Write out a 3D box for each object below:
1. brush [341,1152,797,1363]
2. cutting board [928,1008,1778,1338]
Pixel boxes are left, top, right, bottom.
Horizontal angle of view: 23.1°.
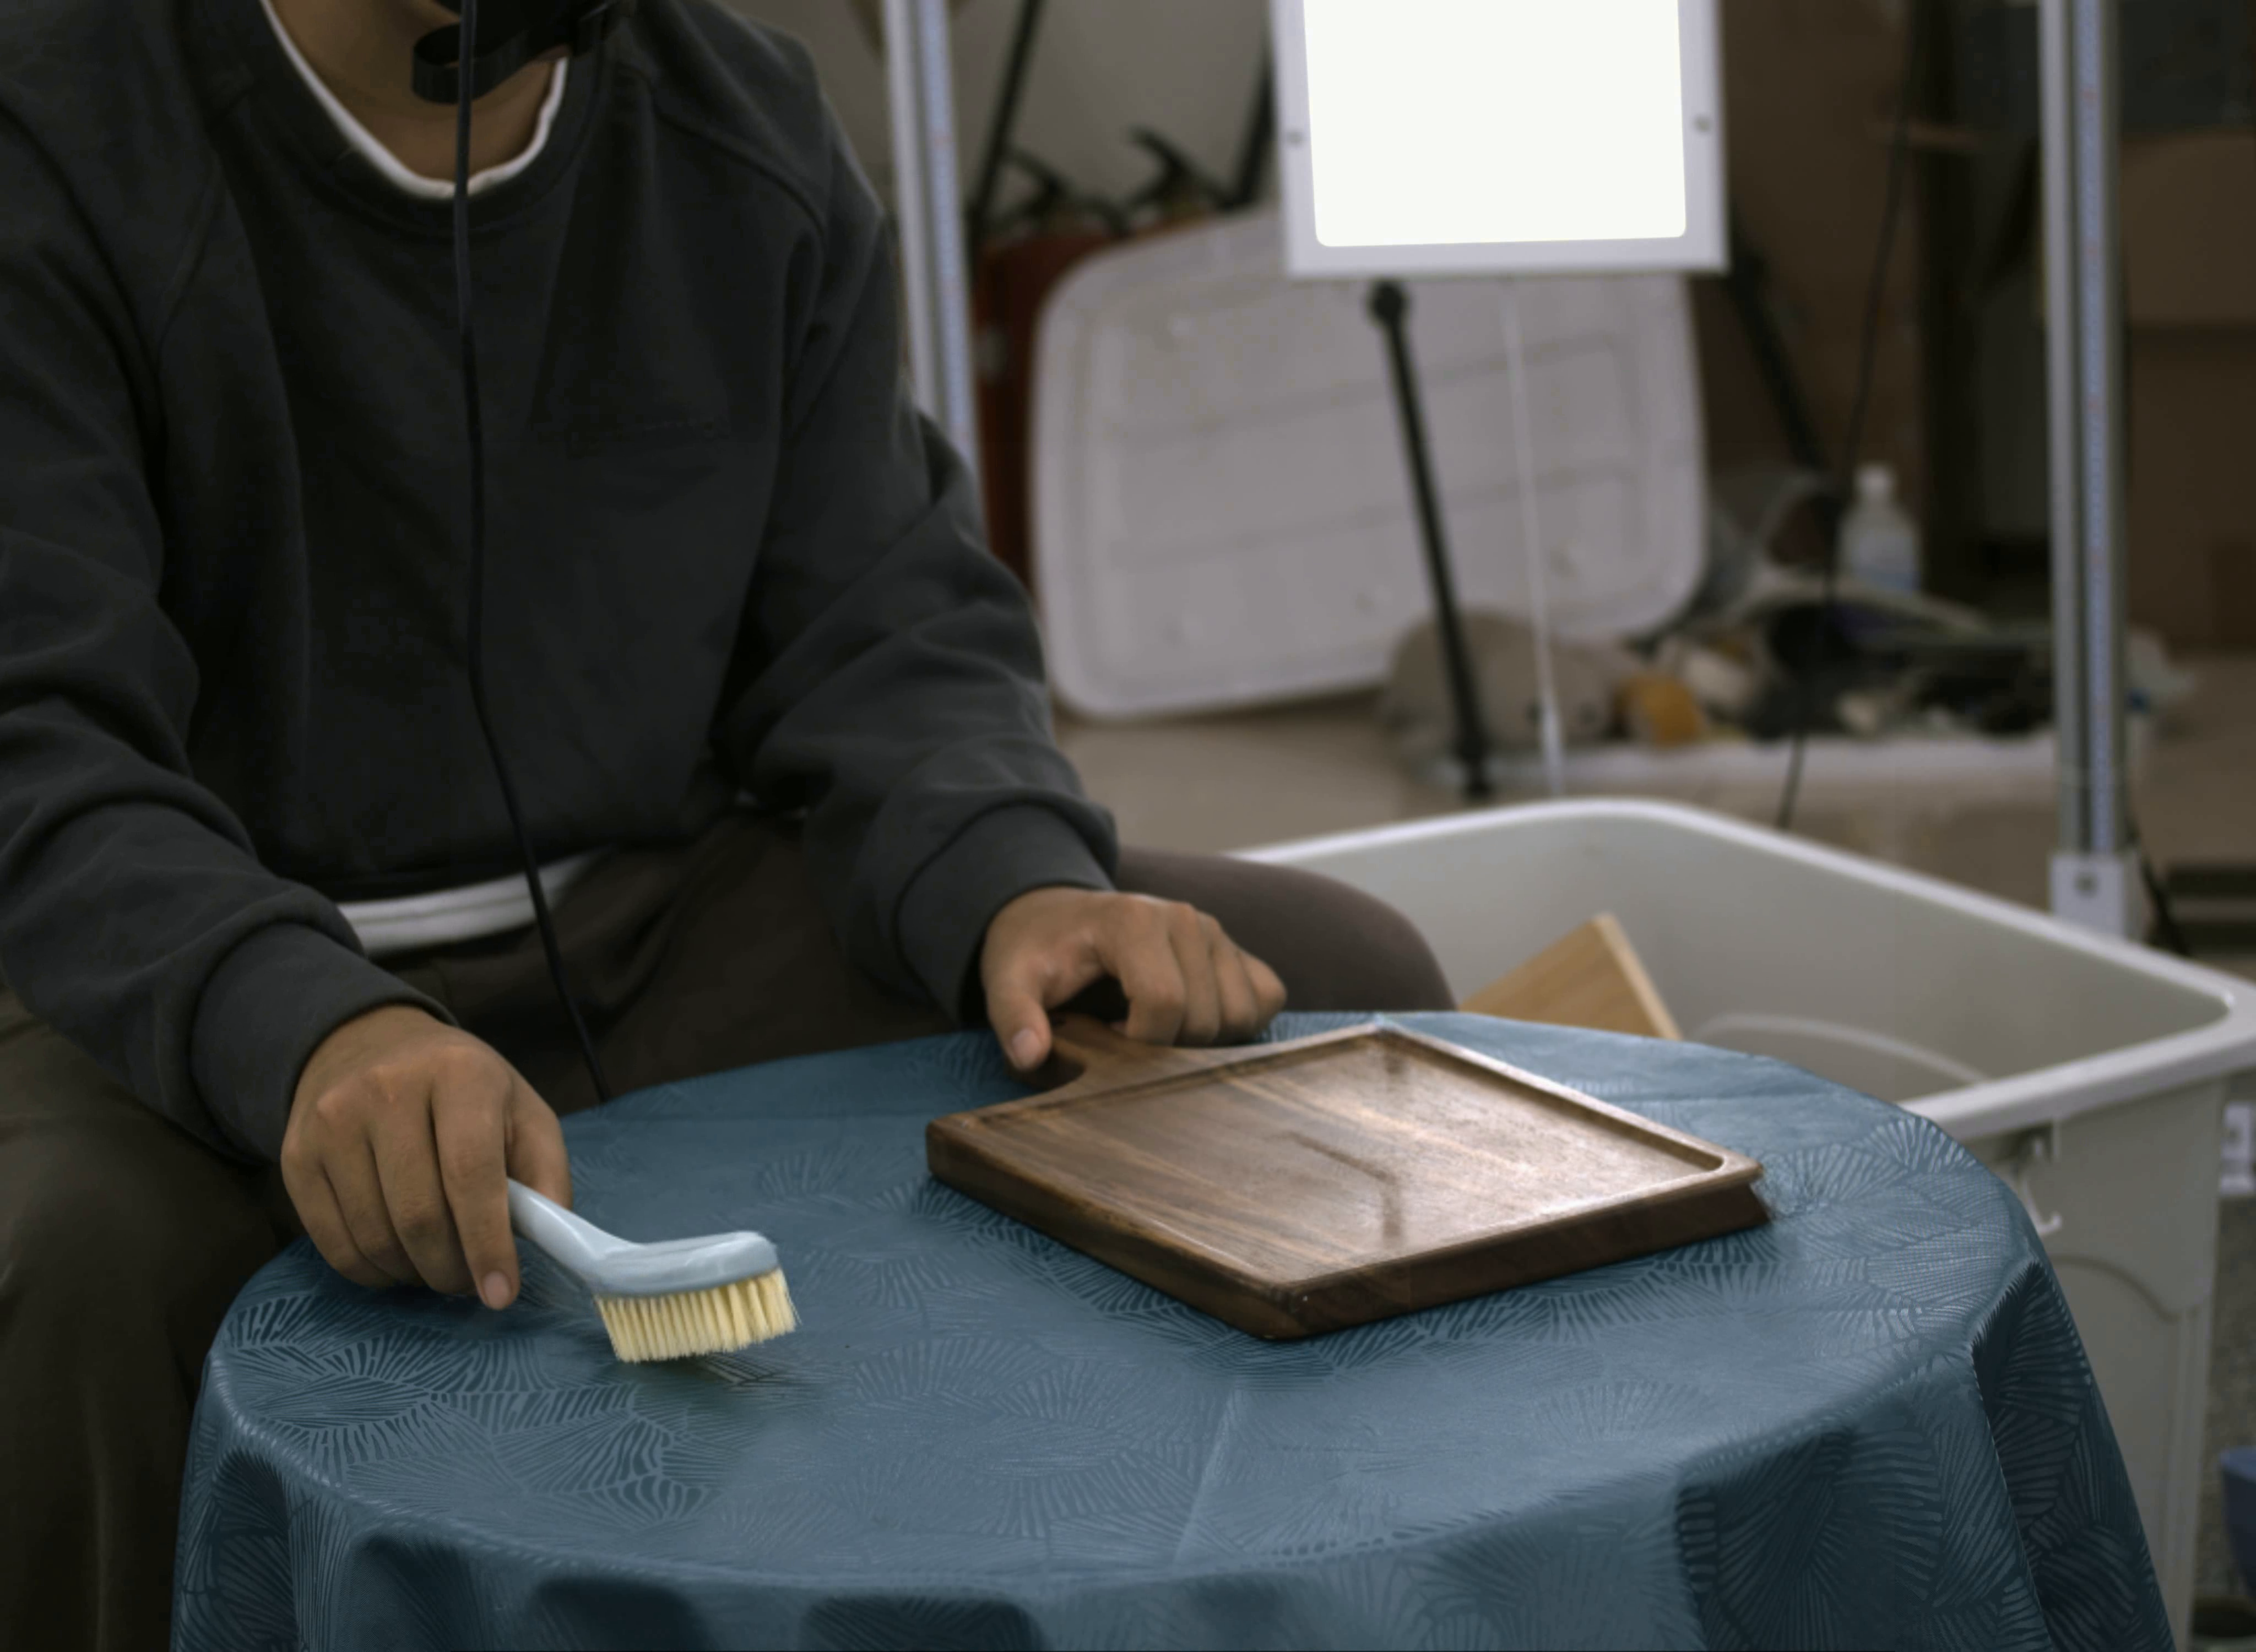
[{"bbox_3d":[-0.187,0.142,1.808,0.037,0.050,0.234,-15,15,-40],"label":"brush"},{"bbox_3d":[0.049,0.108,1.916,0.197,0.023,0.358,-11,14,-26],"label":"cutting board"}]
